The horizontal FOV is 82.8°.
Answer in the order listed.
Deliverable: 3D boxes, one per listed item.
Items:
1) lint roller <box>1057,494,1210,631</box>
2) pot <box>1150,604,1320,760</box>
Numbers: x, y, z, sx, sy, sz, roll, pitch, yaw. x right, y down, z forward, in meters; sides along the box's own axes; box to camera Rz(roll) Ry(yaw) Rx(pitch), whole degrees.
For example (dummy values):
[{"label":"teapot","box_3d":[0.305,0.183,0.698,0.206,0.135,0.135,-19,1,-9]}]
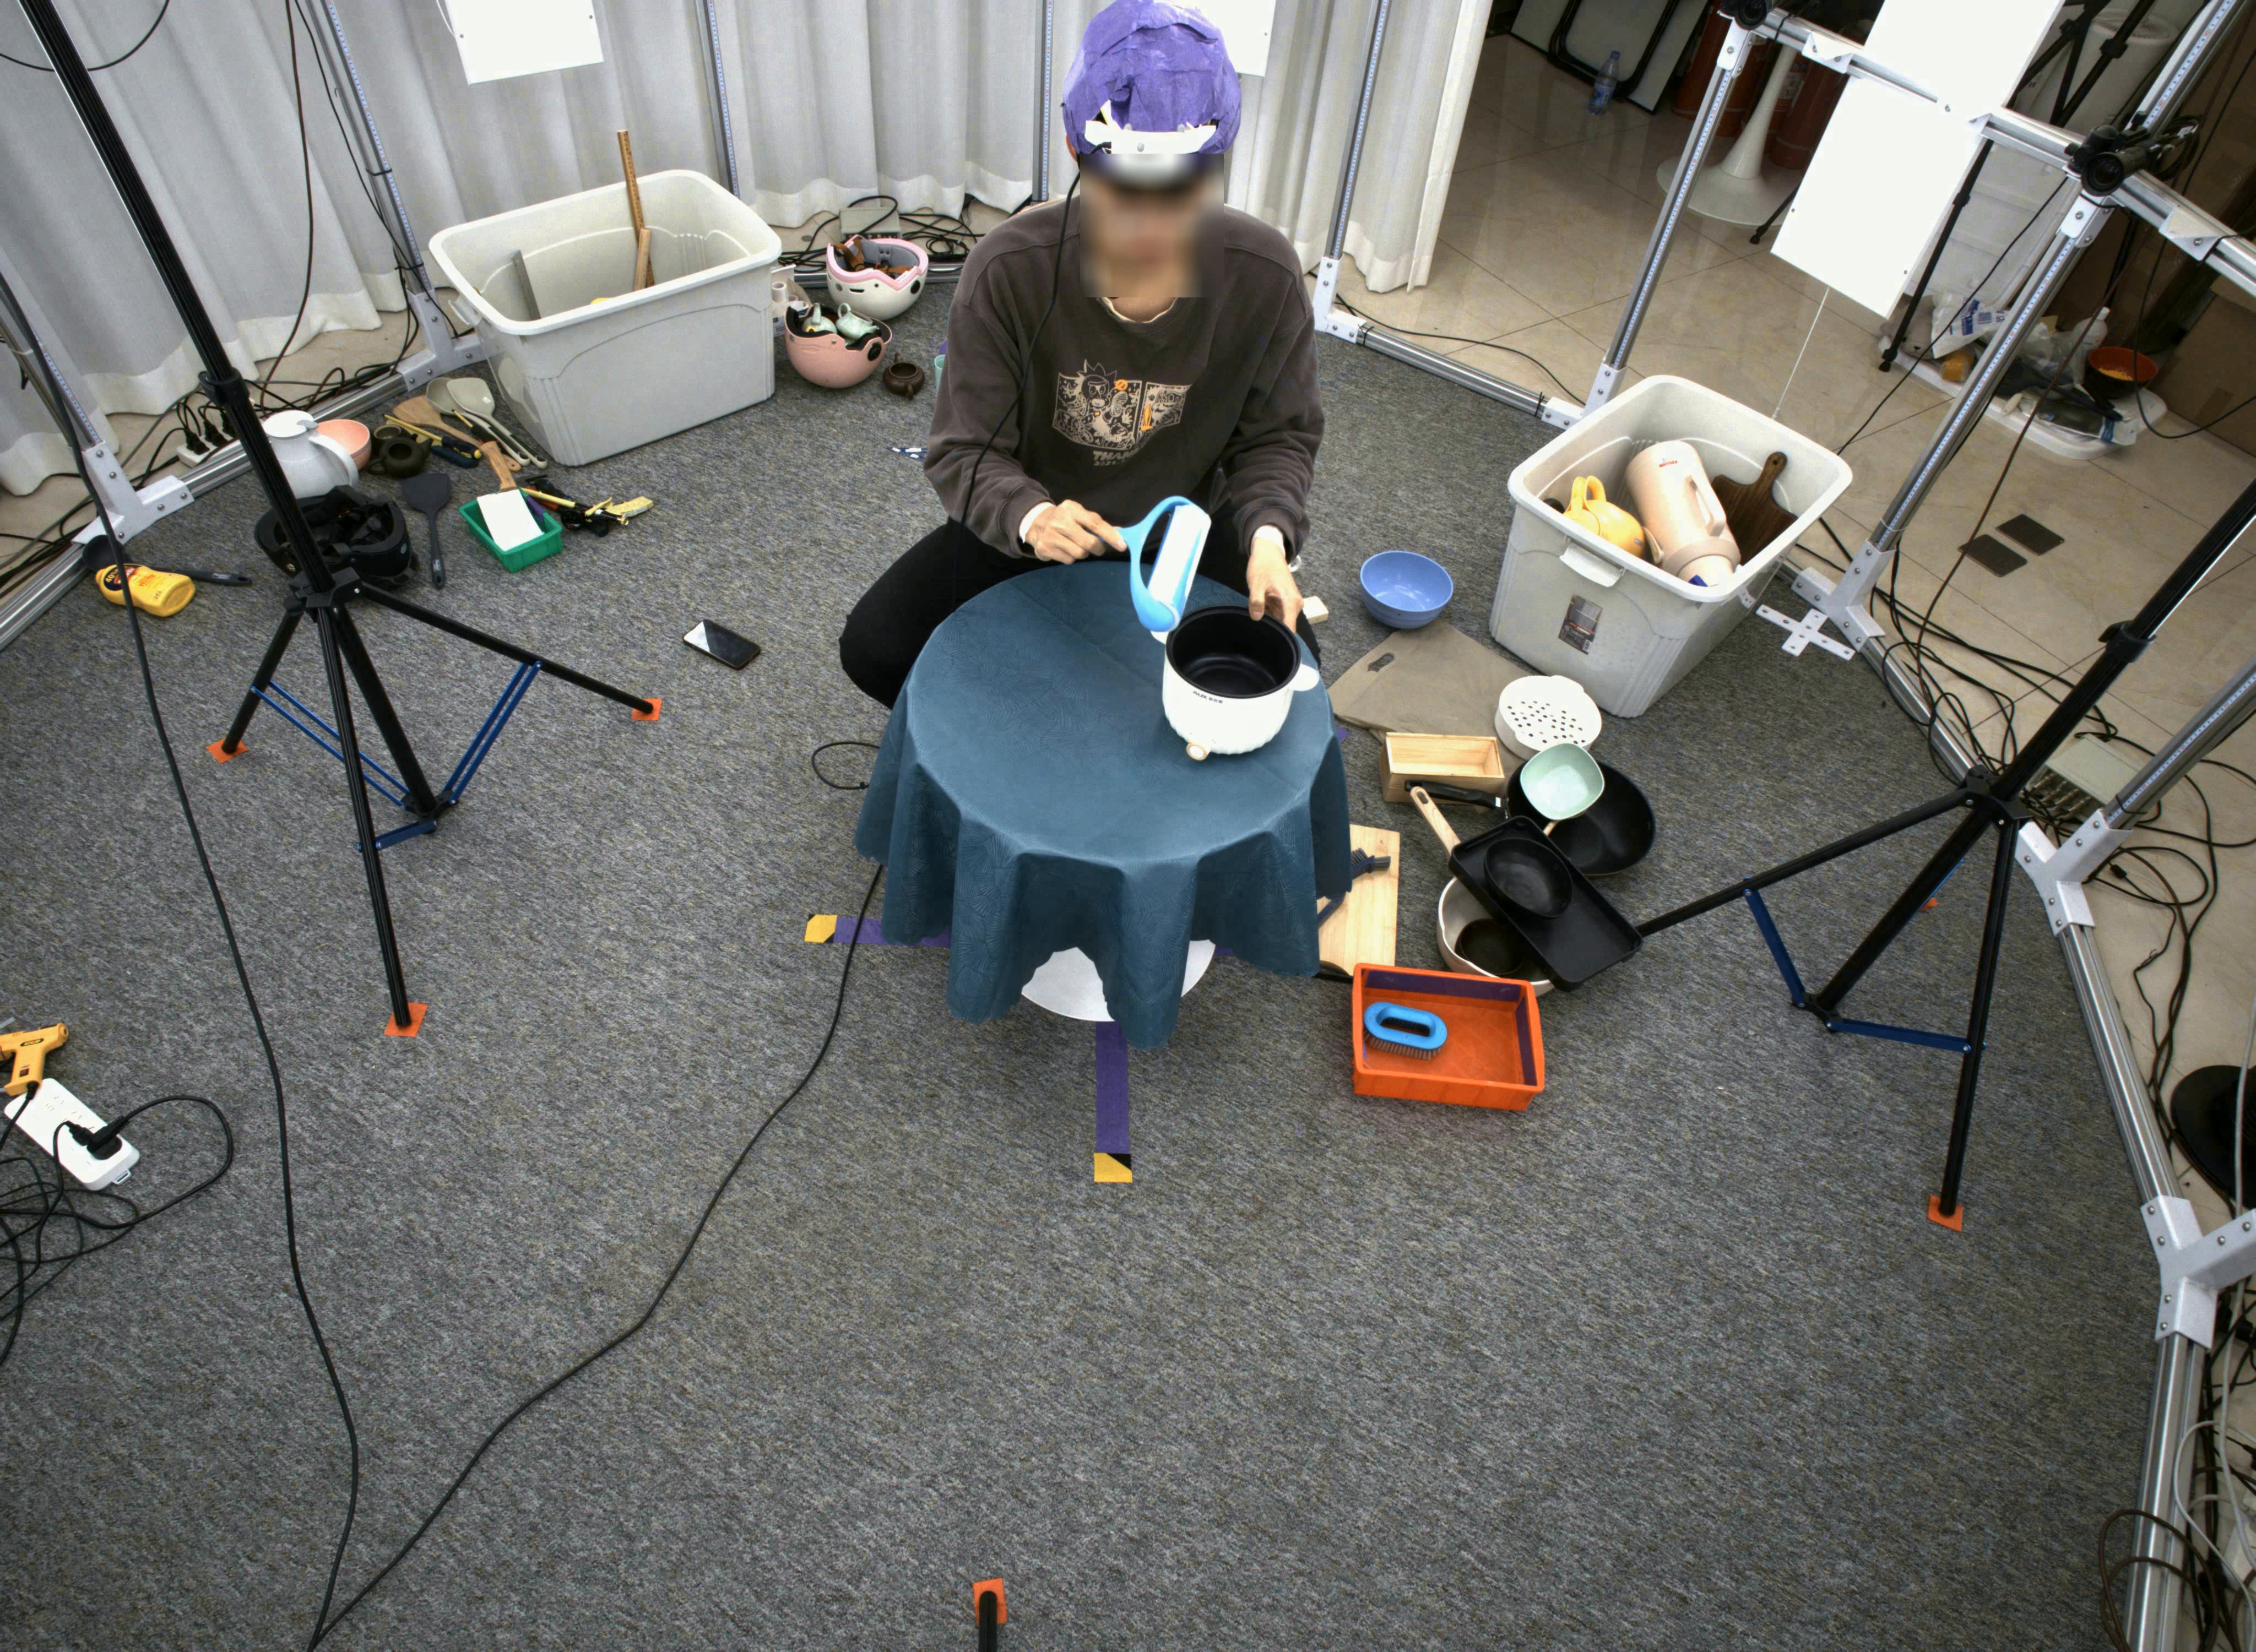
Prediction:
[{"label":"lint roller","box_3d":[0.000,-0.344,1.617,0.180,0.066,0.234,14,51,2]},{"label":"pot","box_3d":[0.136,-0.190,1.749,0.242,0.139,0.194,20,48,15]}]
